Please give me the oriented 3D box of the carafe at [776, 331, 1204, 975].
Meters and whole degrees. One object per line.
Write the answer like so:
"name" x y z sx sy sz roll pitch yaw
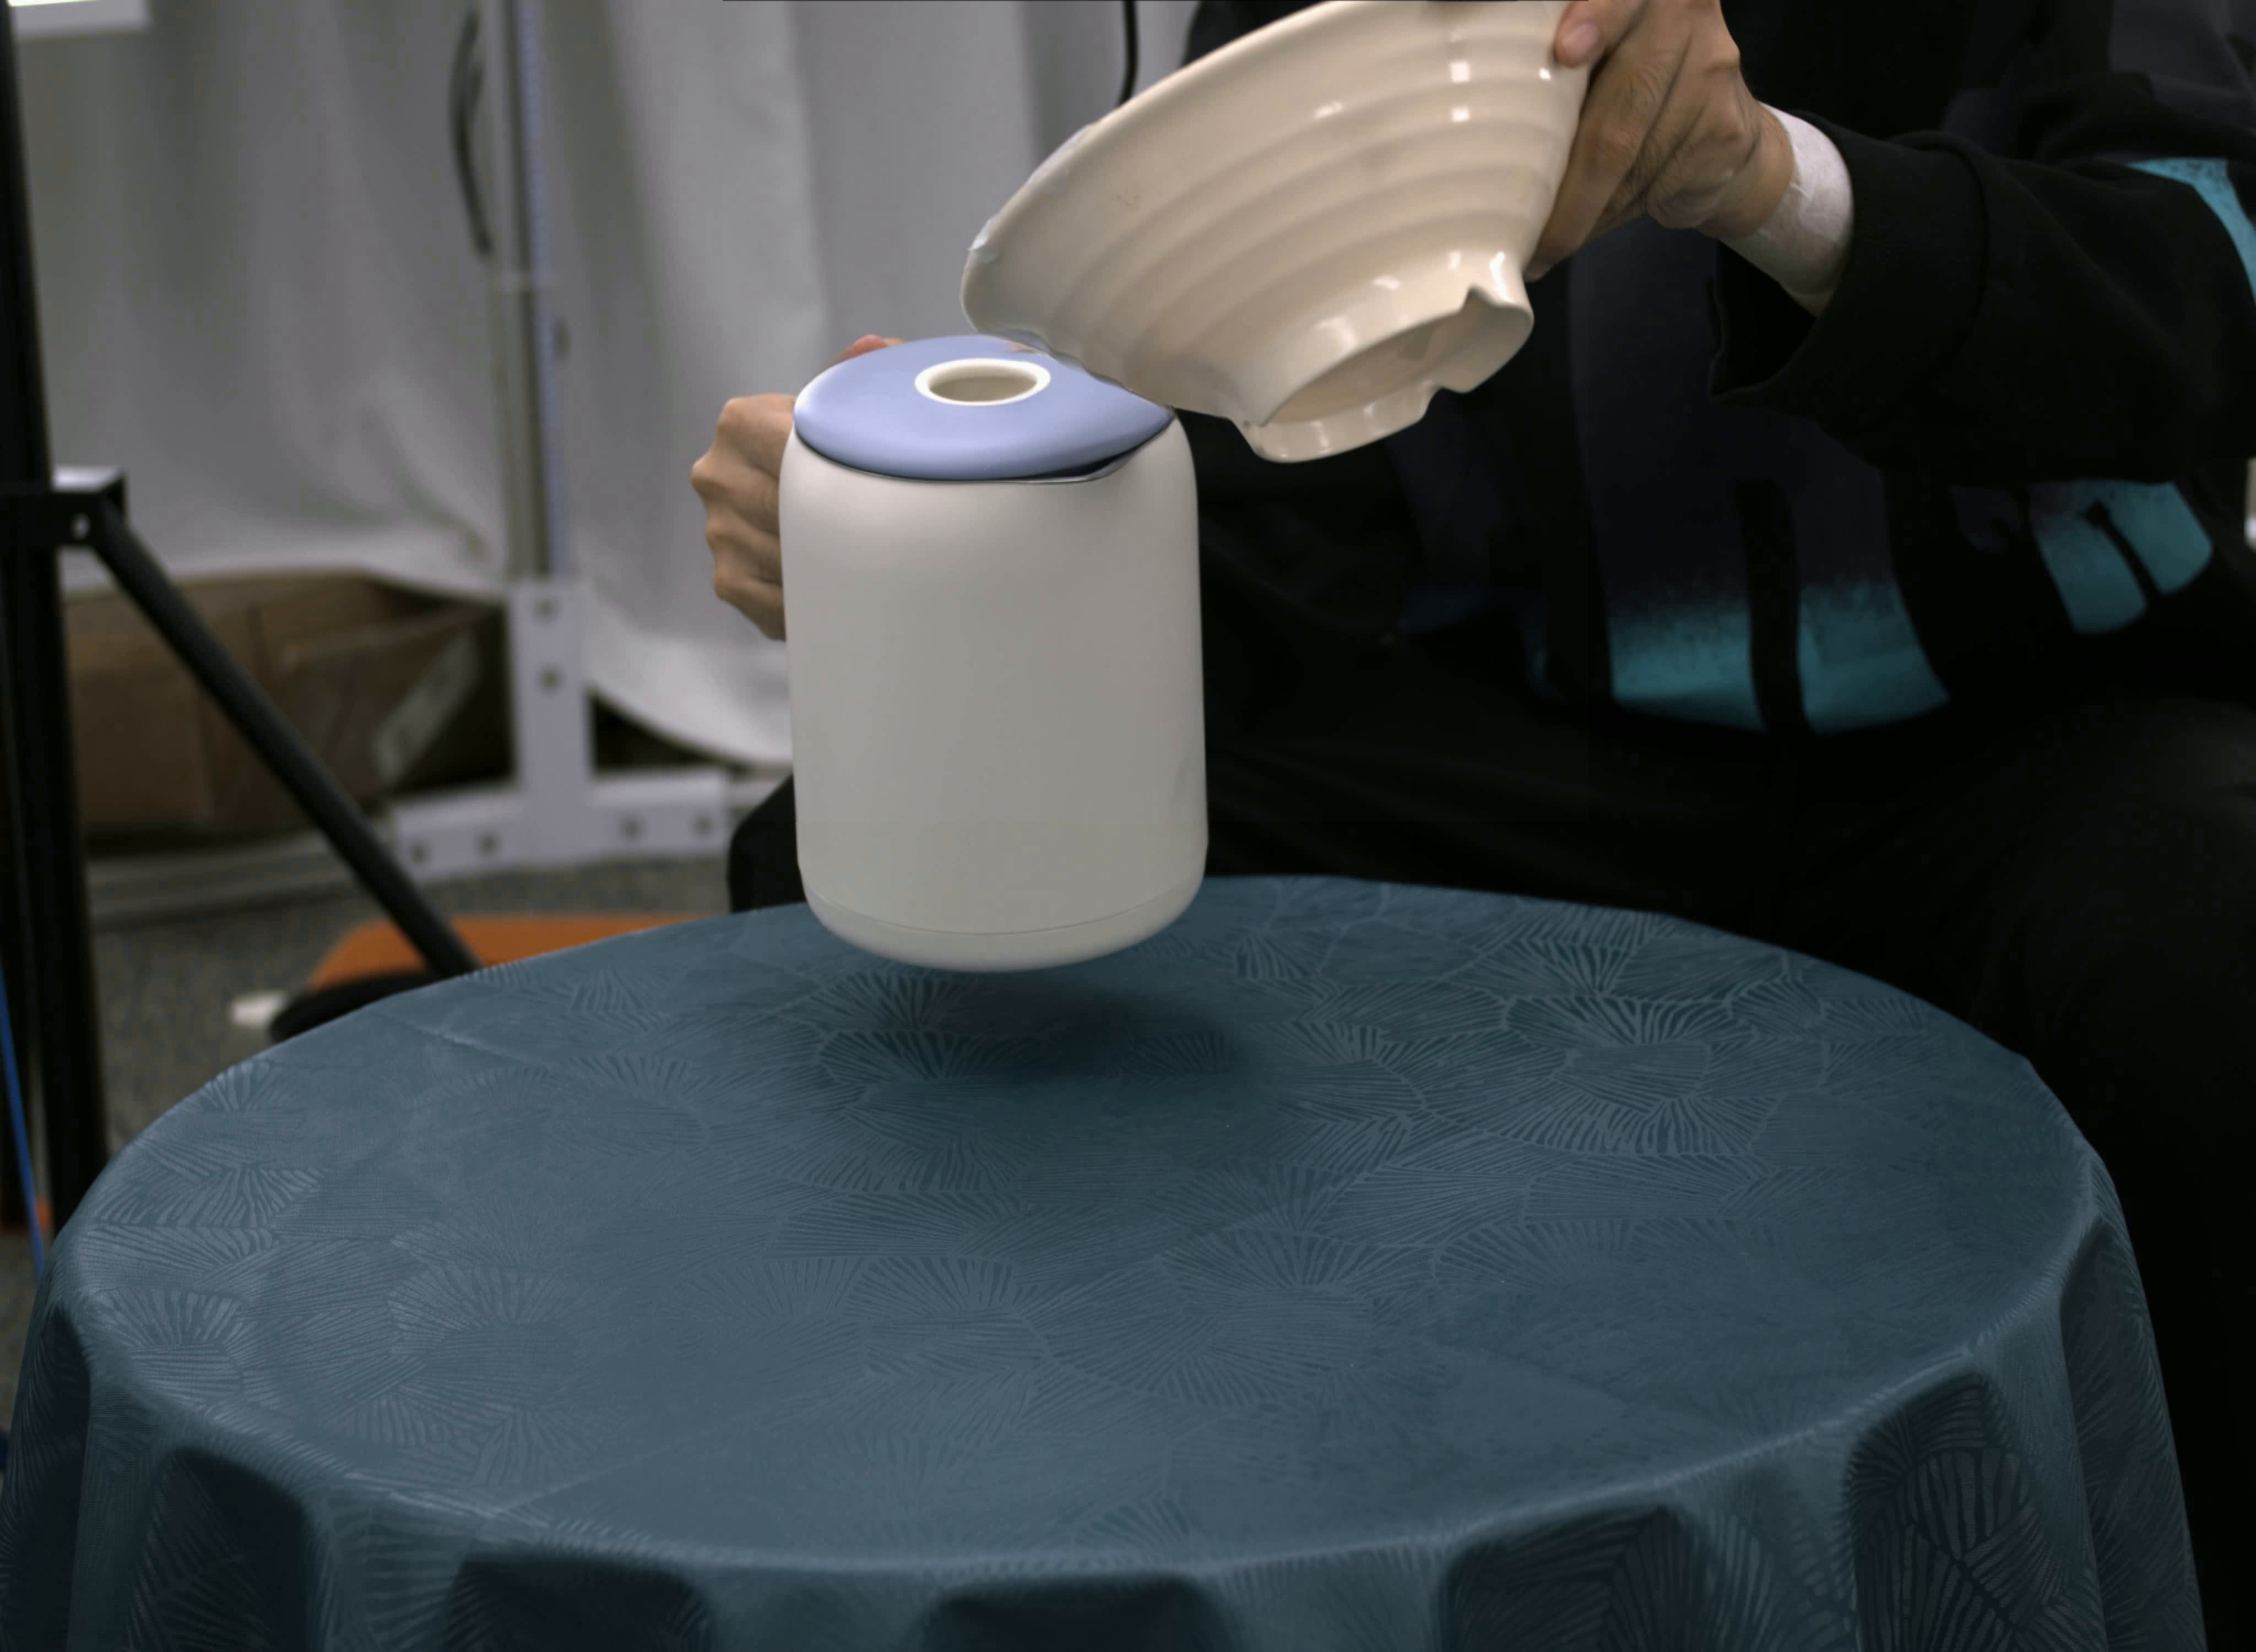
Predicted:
"carafe" -0.056 -0.063 1.698 0.129 0.182 0.195 -14 23 -28

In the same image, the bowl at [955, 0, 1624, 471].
"bowl" 0.059 -0.155 1.501 0.202 0.079 0.203 -20 -16 -8
